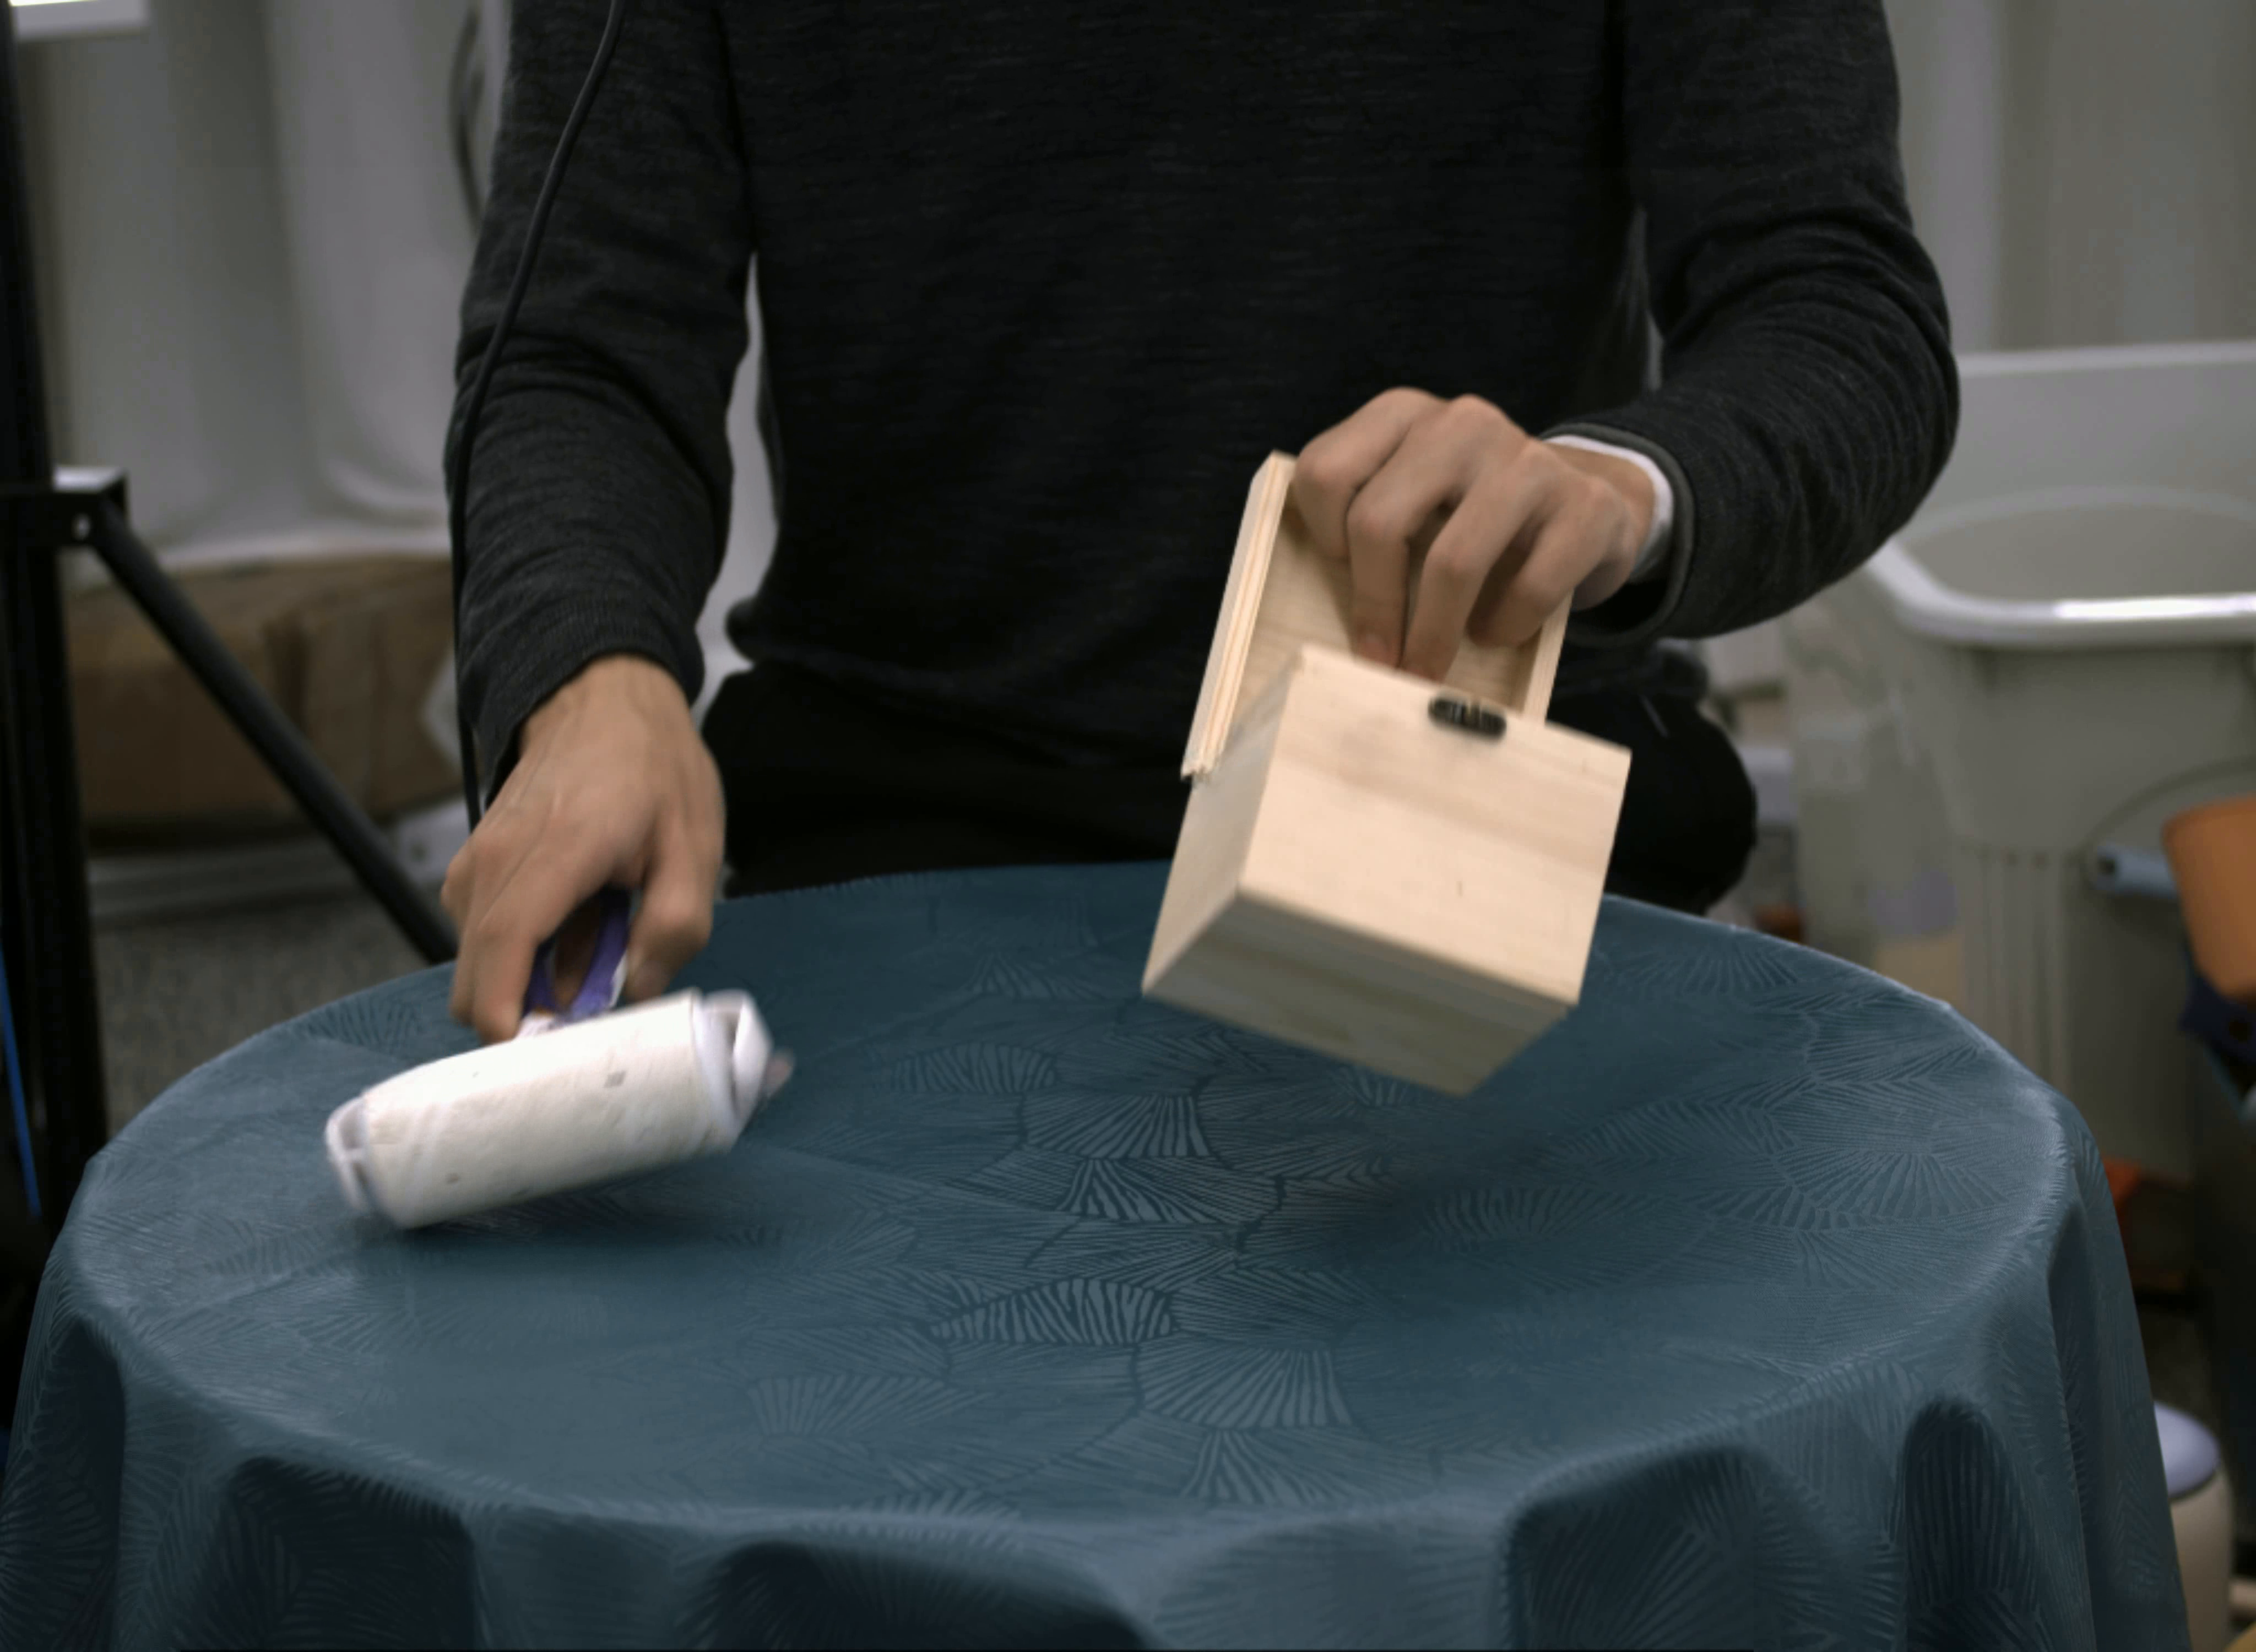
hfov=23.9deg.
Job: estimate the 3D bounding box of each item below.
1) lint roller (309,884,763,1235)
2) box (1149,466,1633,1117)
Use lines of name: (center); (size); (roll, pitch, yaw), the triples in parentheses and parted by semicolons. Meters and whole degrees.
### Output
lint roller: (-0.173, 0.053, 1.605); (0.133, 0.050, 0.182); (-11, 32, 7)
box: (0.083, -0.025, 1.529); (0.101, 0.185, 0.134); (17, -22, -9)
